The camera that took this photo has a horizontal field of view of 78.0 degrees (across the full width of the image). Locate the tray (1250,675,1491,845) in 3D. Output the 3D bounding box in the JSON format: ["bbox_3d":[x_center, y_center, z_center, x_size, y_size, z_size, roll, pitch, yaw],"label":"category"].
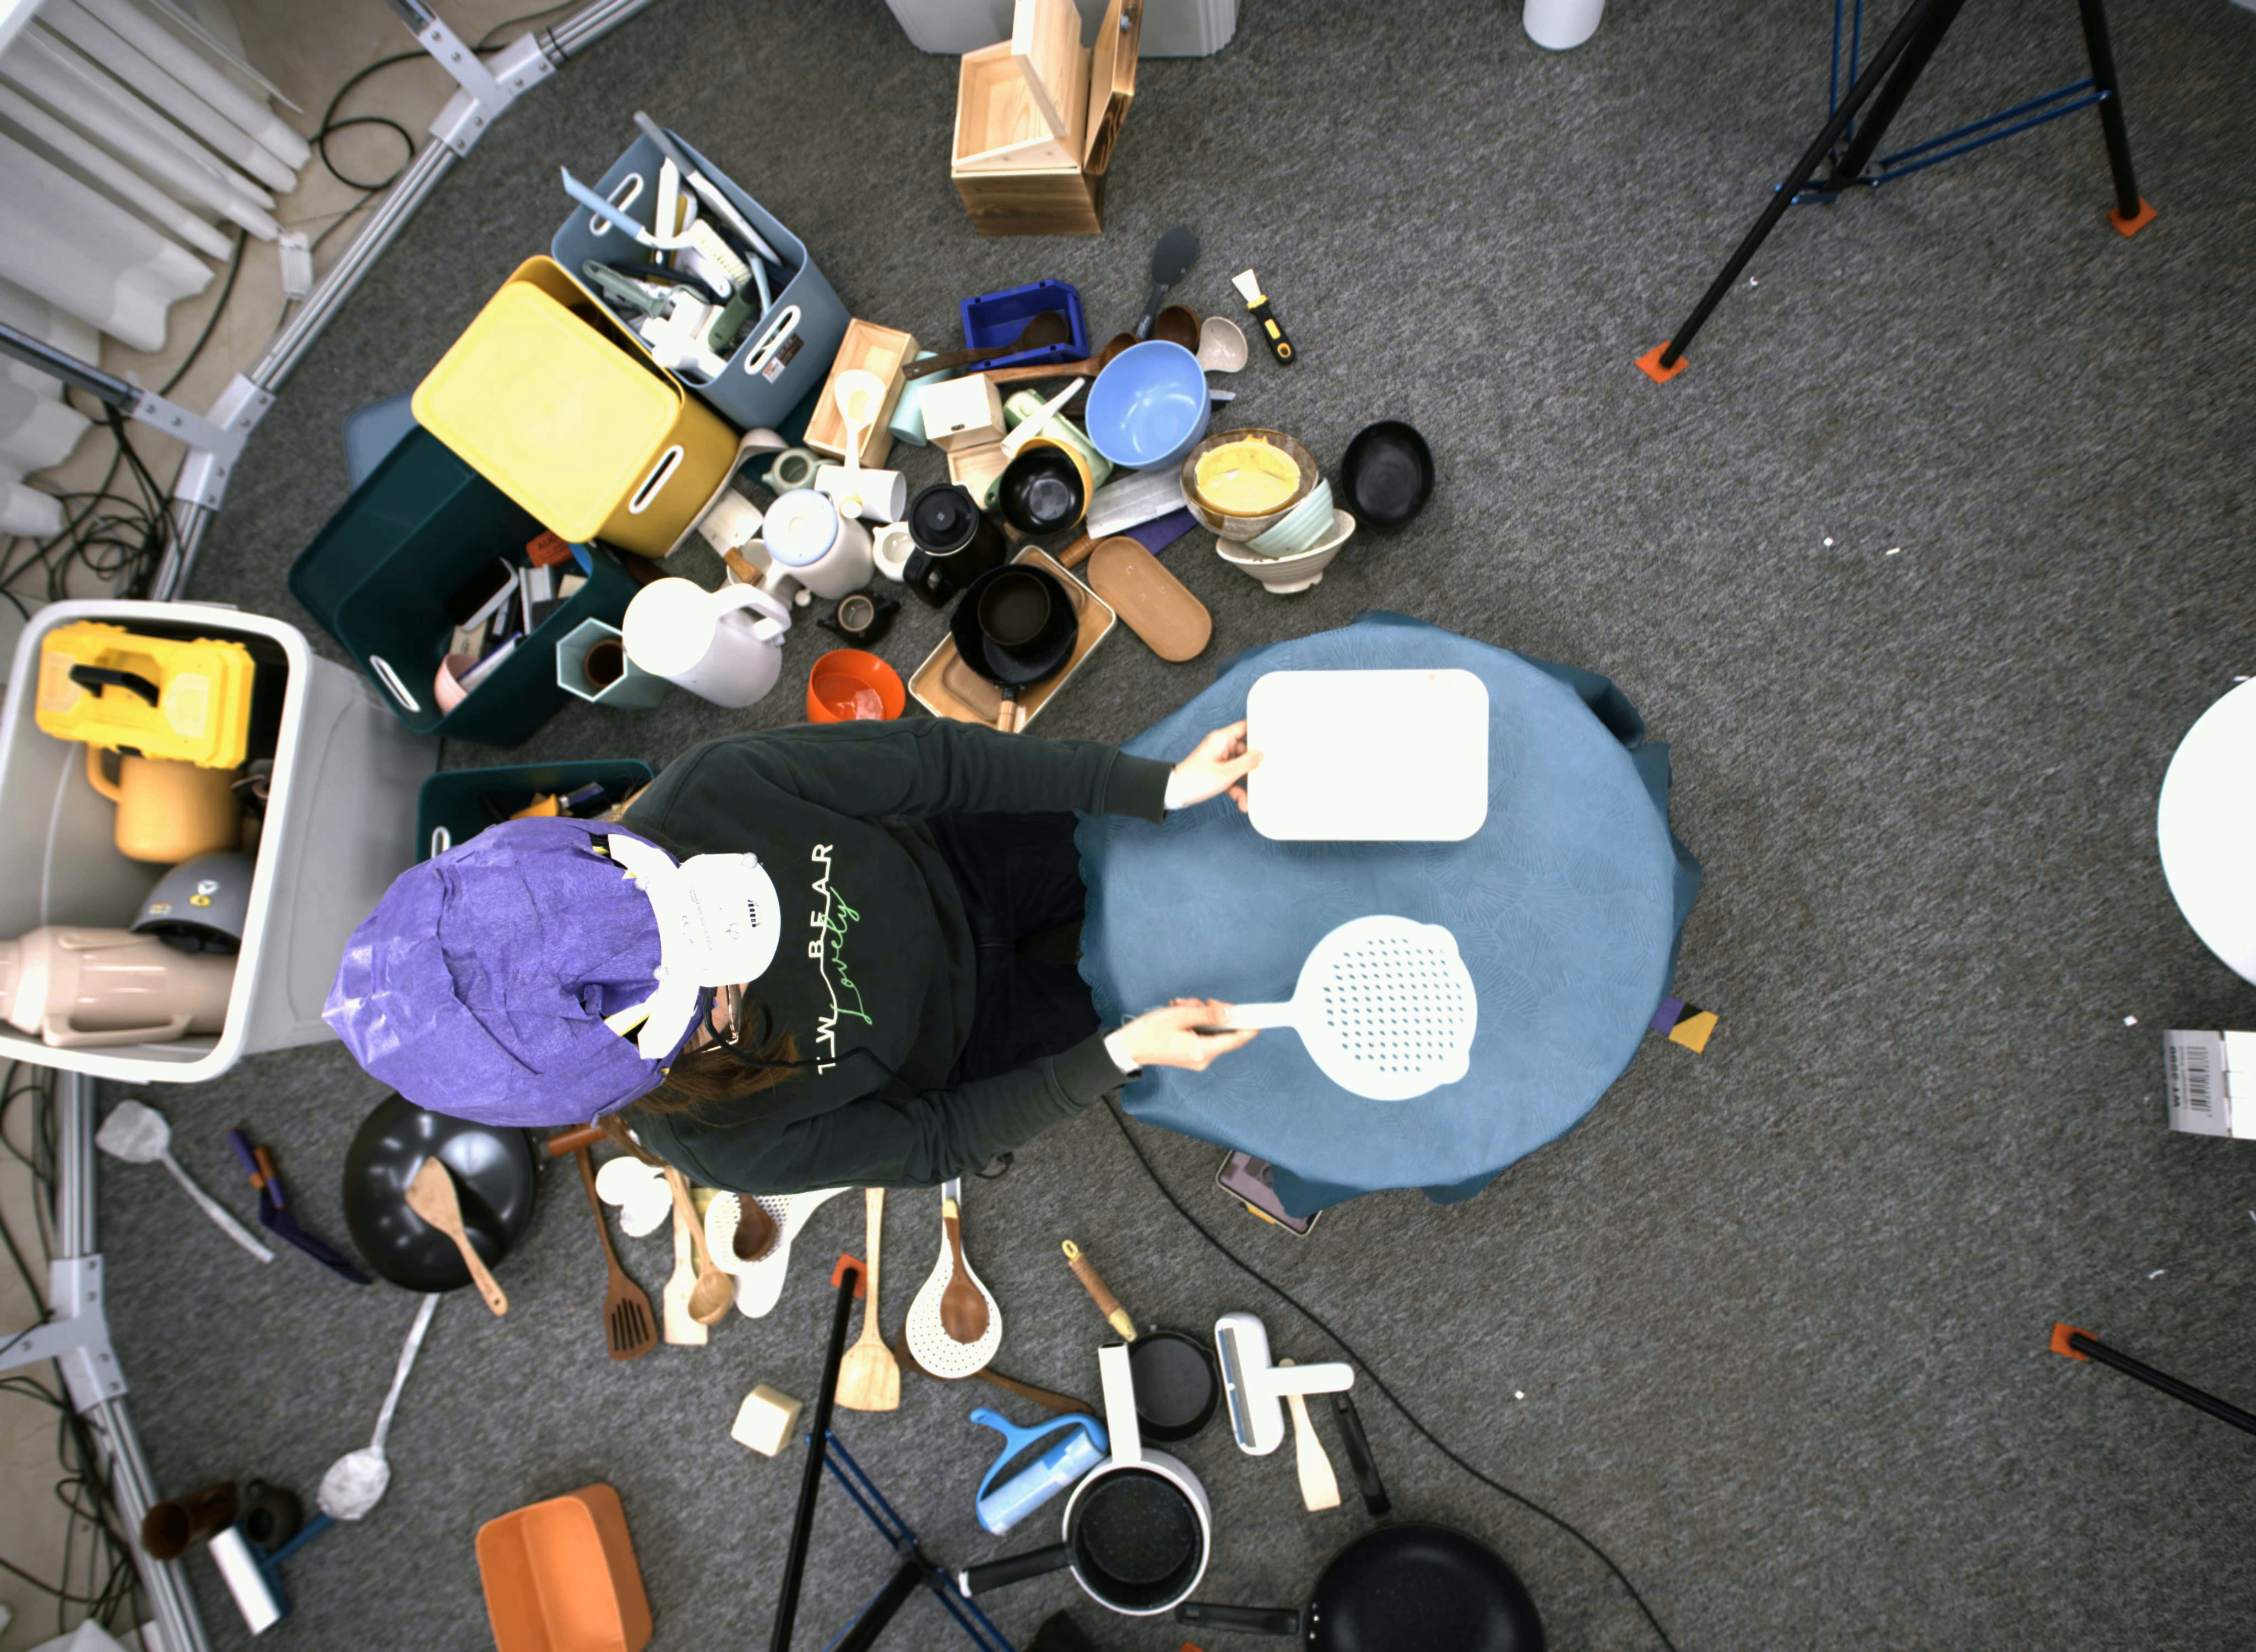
[{"bbox_3d":[0.244,-0.067,1.390,0.240,0.017,0.172,0,97,10],"label":"tray"}]

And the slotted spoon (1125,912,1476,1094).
[{"bbox_3d":[0.157,0.177,1.342,0.361,0.075,0.168,-7,85,19],"label":"slotted spoon"}]
